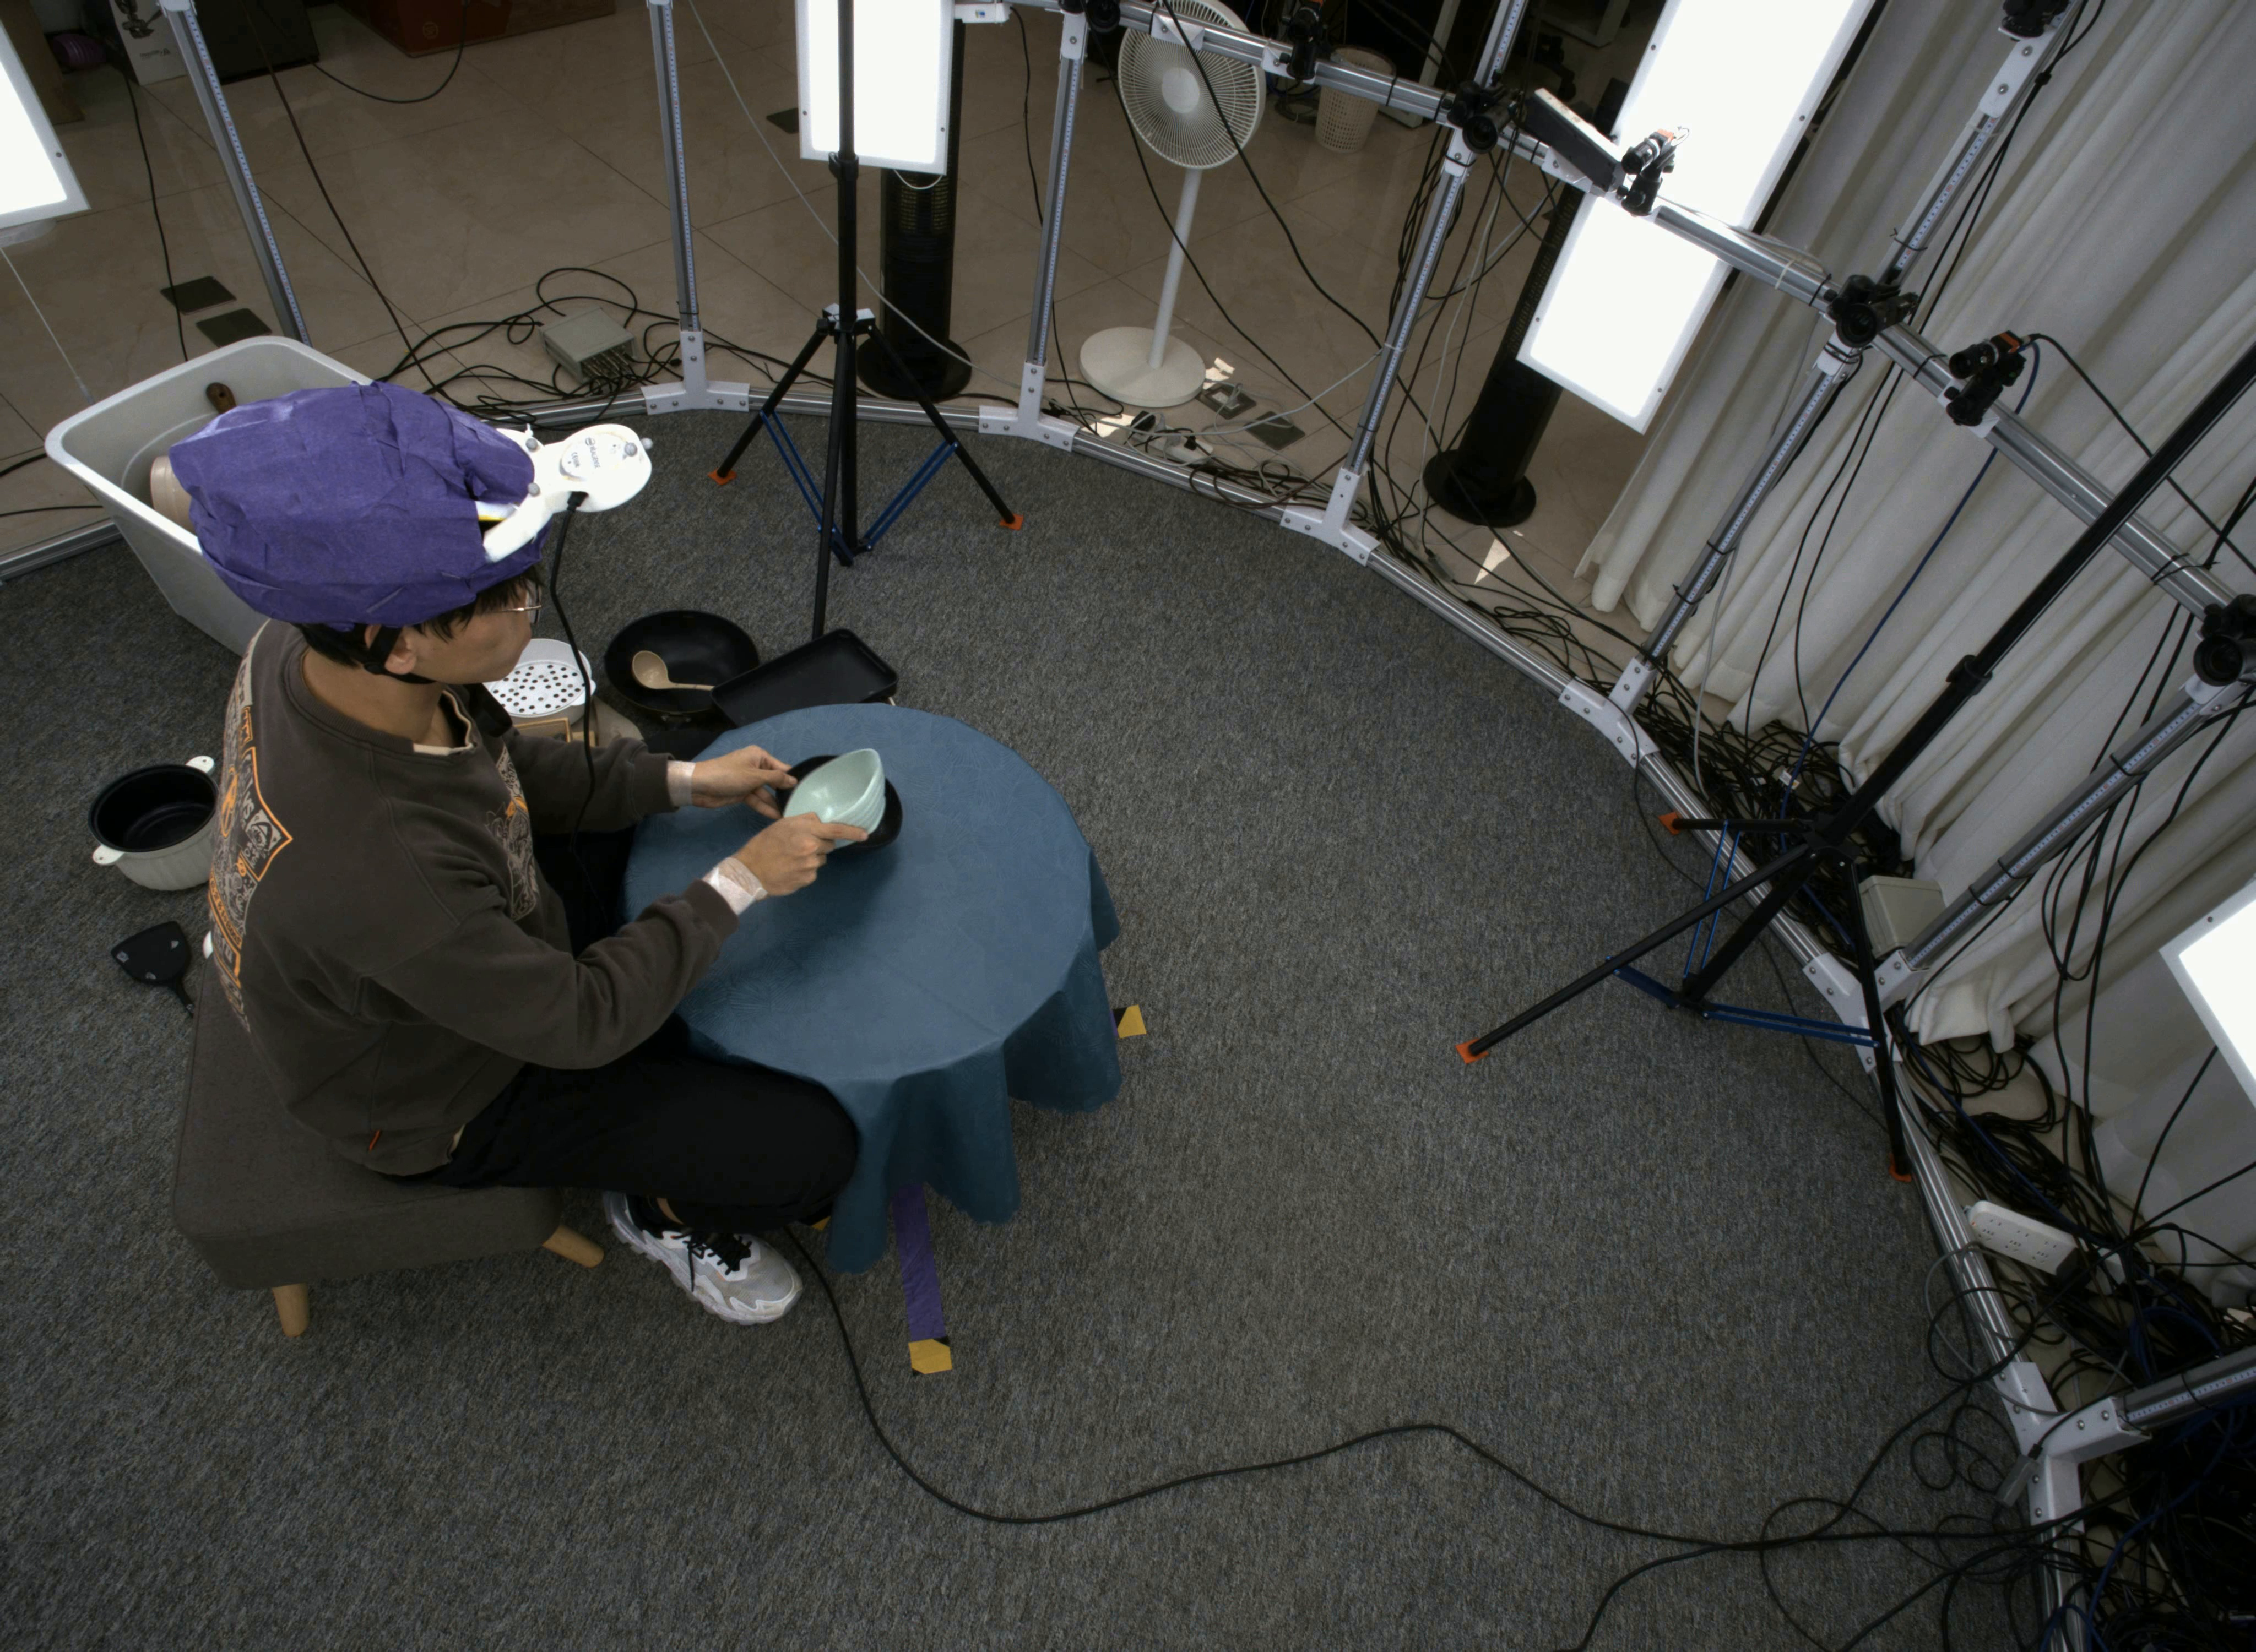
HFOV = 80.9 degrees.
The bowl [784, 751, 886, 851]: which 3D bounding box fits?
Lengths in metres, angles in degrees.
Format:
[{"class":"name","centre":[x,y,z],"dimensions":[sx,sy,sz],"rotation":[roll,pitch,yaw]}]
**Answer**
[{"class":"bowl","centre":[-0.356,-0.023,1.629],"dimensions":[0.149,0.061,0.148],"rotation":[-23,33,18]}]

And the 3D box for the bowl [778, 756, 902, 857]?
[{"class":"bowl","centre":[-0.379,-0.016,1.714],"dimensions":[0.169,0.068,0.136],"rotation":[24,56,0]}]
